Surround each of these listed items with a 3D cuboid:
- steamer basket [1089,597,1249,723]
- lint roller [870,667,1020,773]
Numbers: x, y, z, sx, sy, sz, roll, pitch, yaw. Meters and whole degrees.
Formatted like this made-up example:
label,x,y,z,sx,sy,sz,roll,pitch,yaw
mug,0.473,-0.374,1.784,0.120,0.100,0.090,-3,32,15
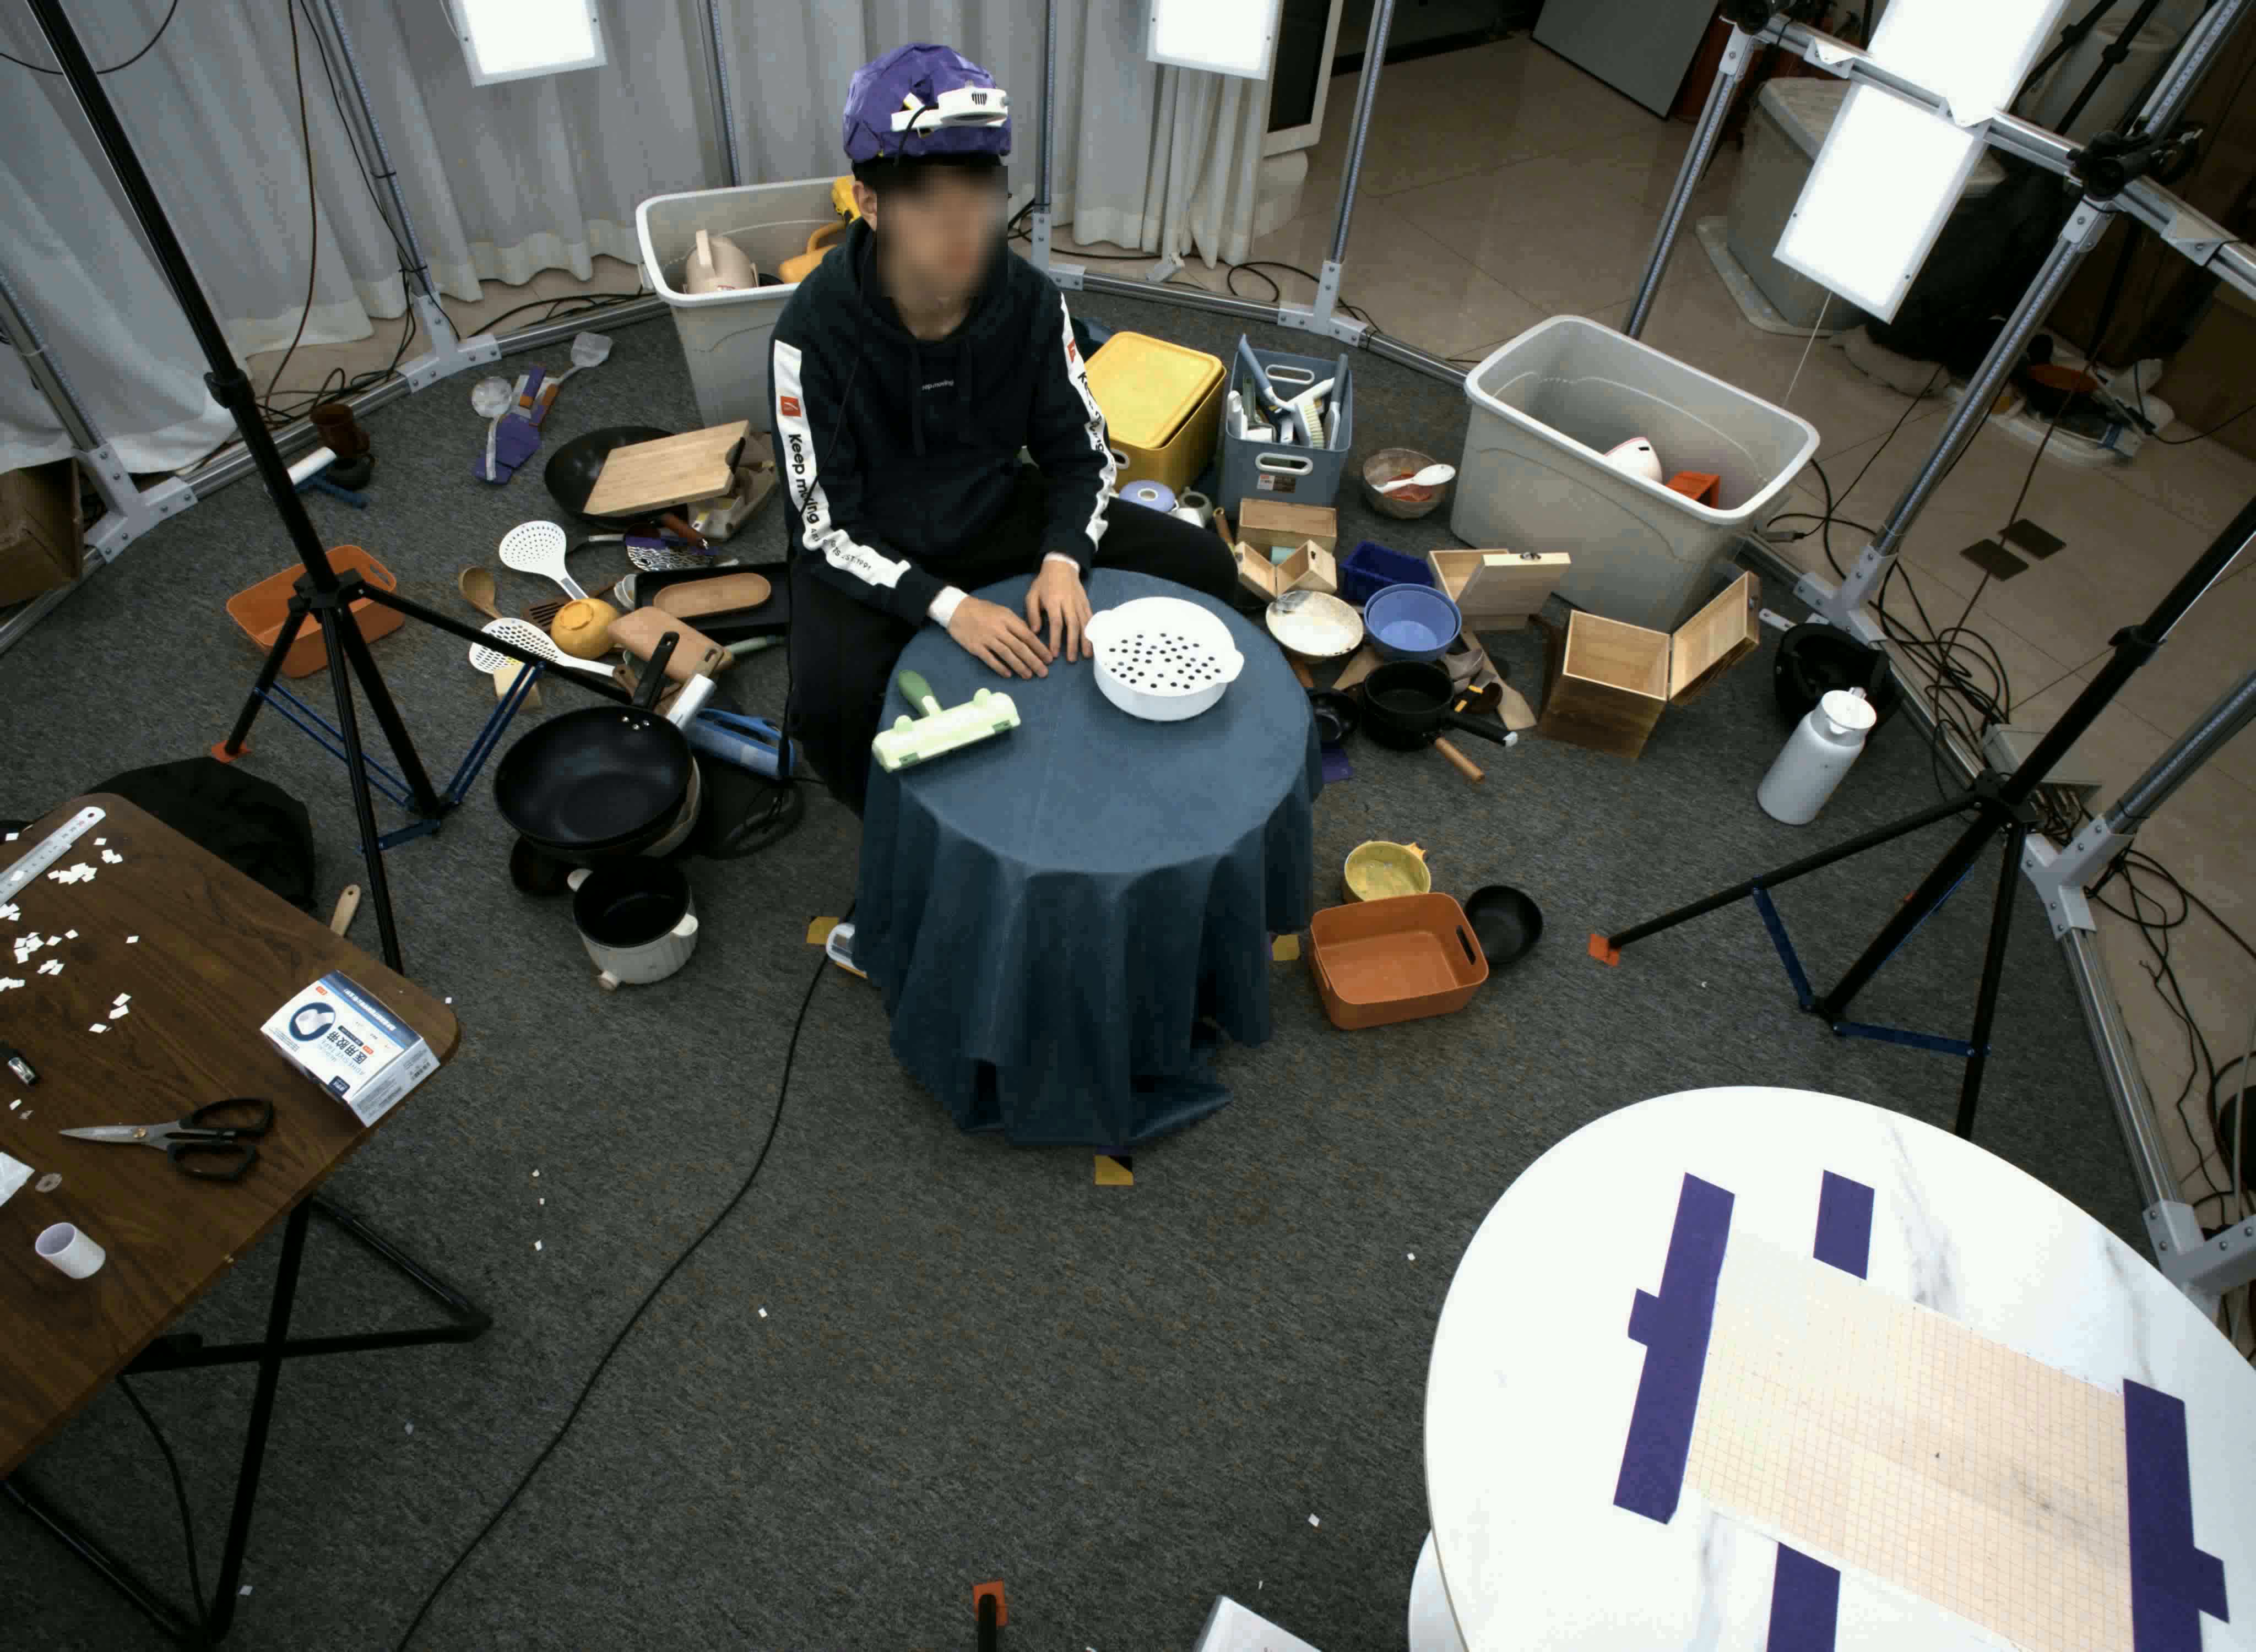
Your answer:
label,x,y,z,sx,sy,sz,roll,pitch,yaw
steamer basket,0.055,-0.236,1.832,0.231,0.067,0.206,19,52,11
lint roller,-0.271,-0.171,1.749,0.199,0.080,0.187,-21,58,-21
